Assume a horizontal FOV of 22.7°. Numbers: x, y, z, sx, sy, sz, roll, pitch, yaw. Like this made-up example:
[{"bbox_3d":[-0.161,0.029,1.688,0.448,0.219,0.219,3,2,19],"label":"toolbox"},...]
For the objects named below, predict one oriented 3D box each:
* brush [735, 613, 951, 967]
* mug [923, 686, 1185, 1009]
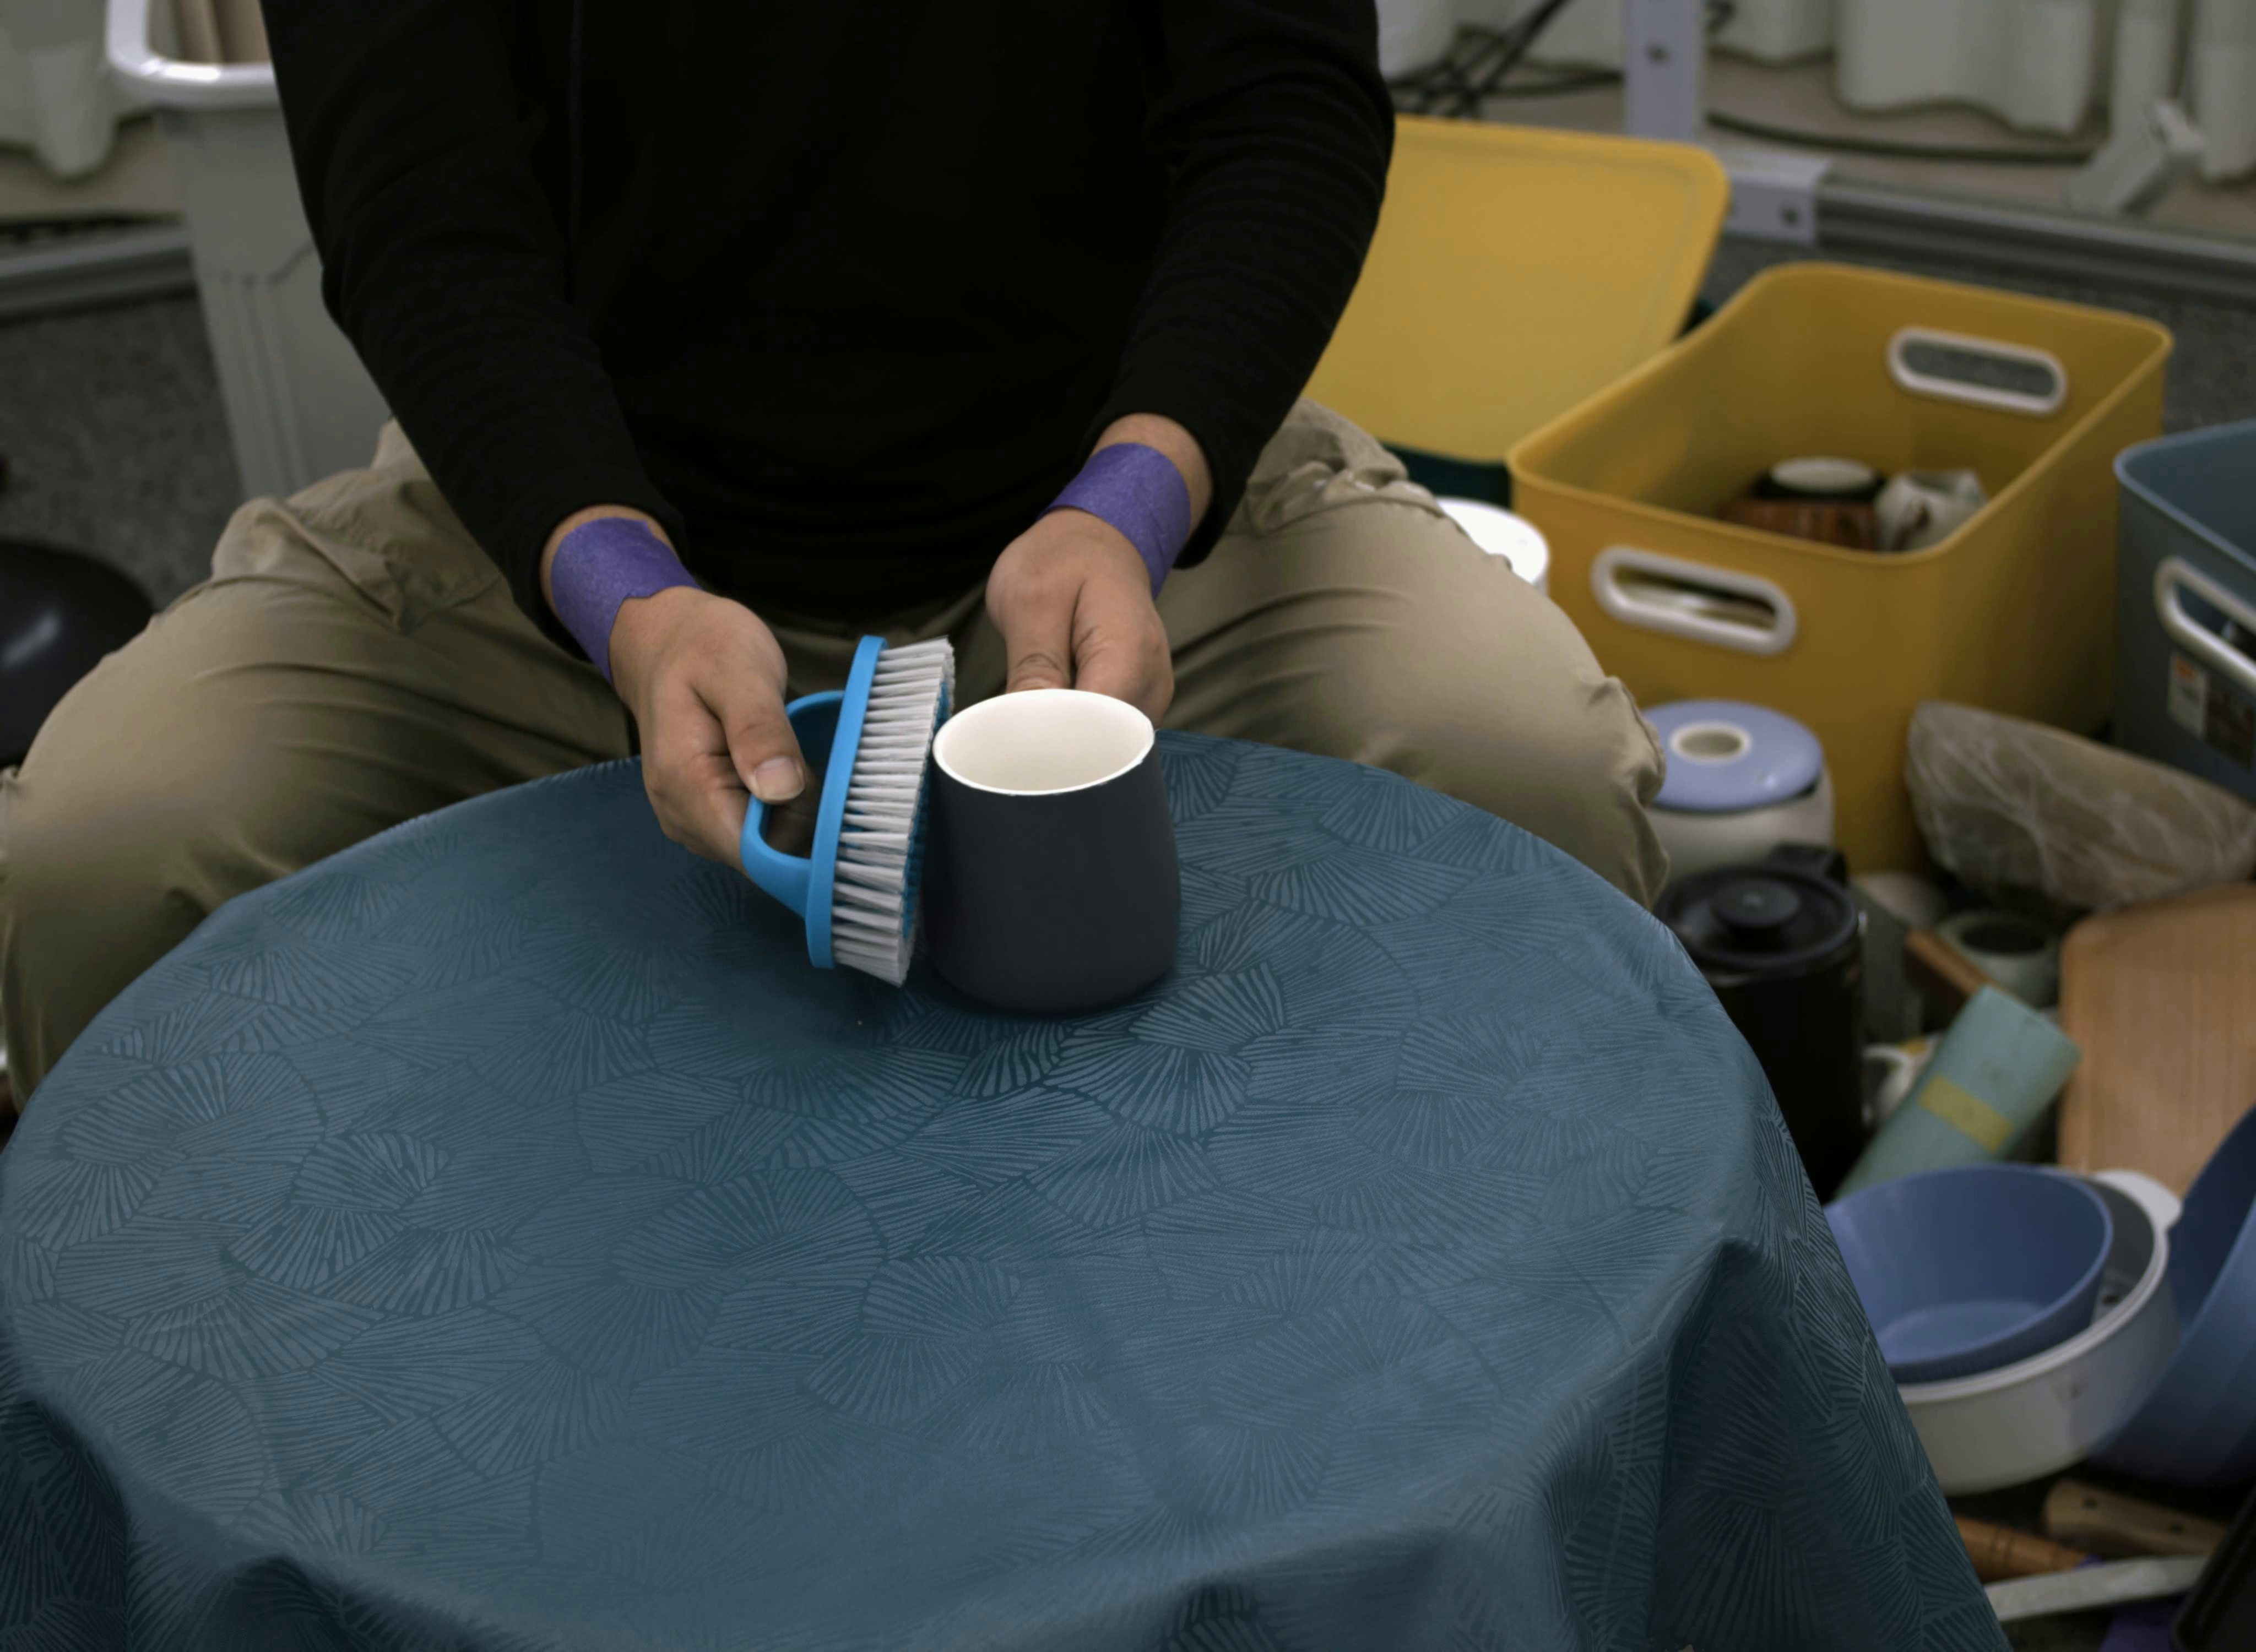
[{"bbox_3d":[-0.103,-0.011,1.980,0.063,0.083,0.145,4,47,7],"label":"brush"},{"bbox_3d":[-0.027,0.001,1.996,0.093,0.089,0.125,-2,29,0],"label":"mug"}]
